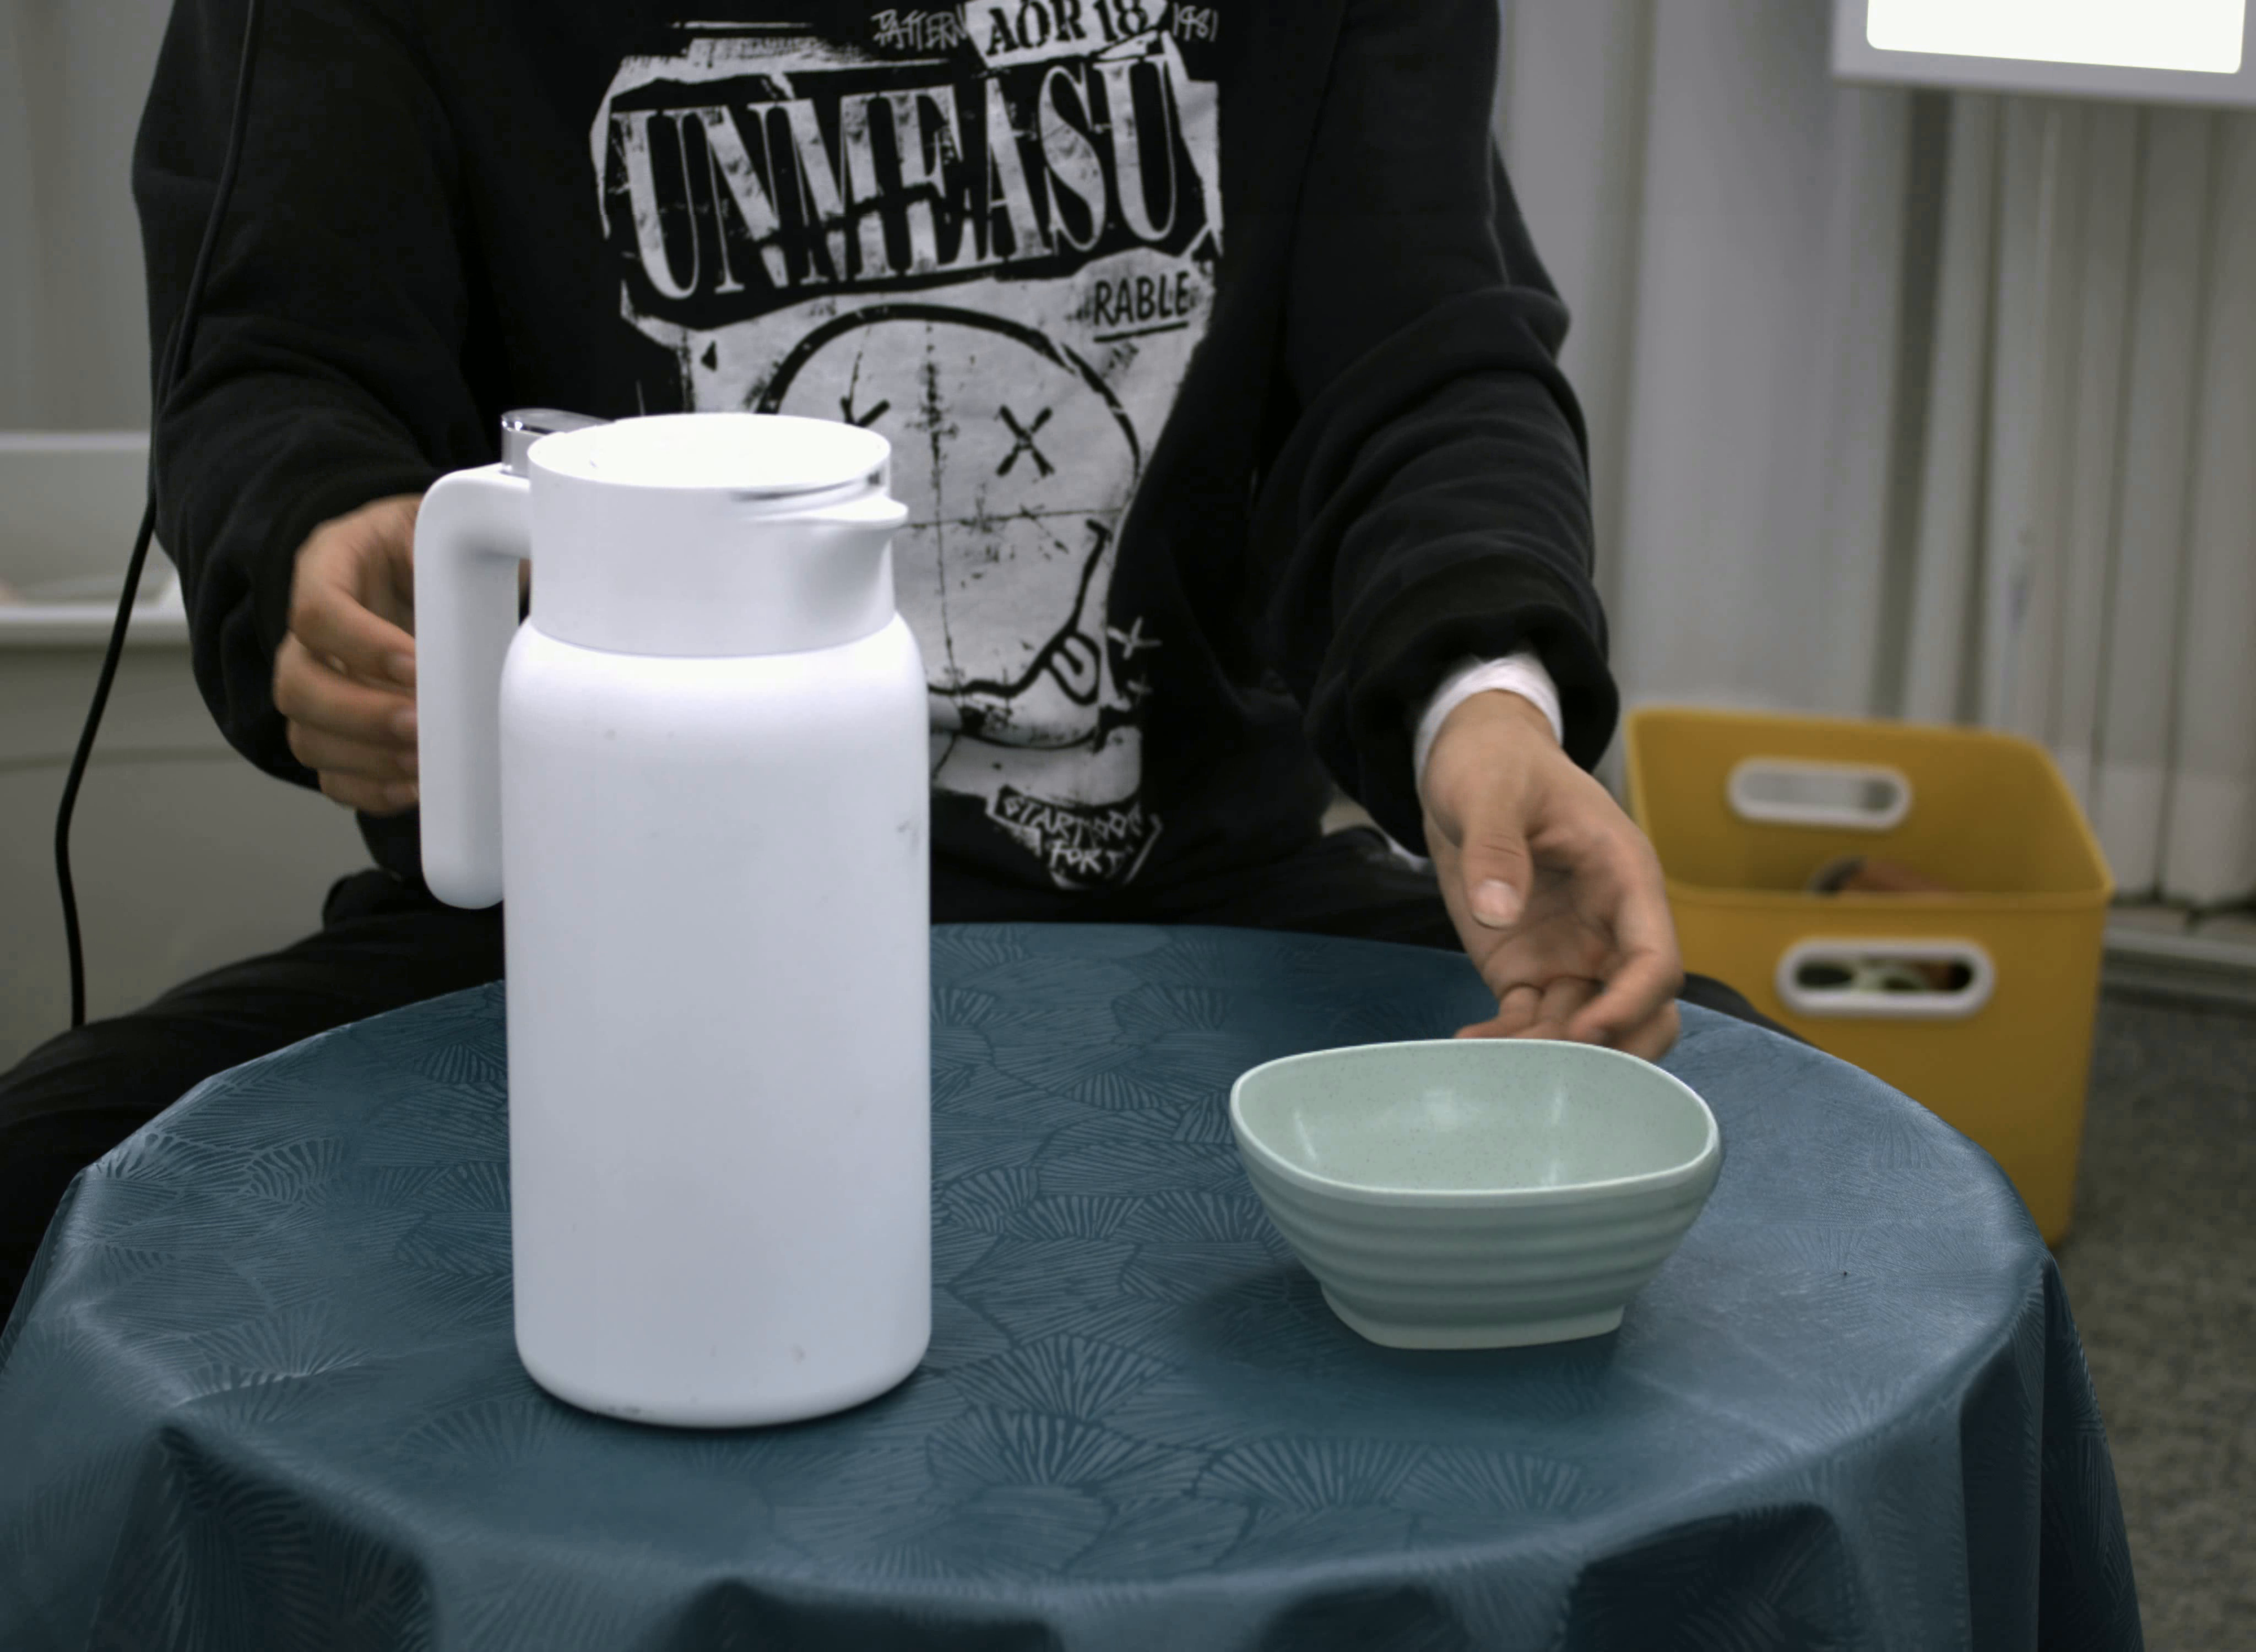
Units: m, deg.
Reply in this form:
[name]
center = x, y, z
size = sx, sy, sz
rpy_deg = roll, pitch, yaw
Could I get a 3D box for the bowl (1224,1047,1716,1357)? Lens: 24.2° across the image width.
[bowl]
center = 0.098, 0.112, 1.528
size = 0.151, 0.059, 0.150
rpy_deg = 1, 15, 0

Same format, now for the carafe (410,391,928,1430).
[carafe]
center = -0.127, 0.020, 1.449
size = 0.170, 0.271, 0.124
rpy_deg = 12, 22, 36
